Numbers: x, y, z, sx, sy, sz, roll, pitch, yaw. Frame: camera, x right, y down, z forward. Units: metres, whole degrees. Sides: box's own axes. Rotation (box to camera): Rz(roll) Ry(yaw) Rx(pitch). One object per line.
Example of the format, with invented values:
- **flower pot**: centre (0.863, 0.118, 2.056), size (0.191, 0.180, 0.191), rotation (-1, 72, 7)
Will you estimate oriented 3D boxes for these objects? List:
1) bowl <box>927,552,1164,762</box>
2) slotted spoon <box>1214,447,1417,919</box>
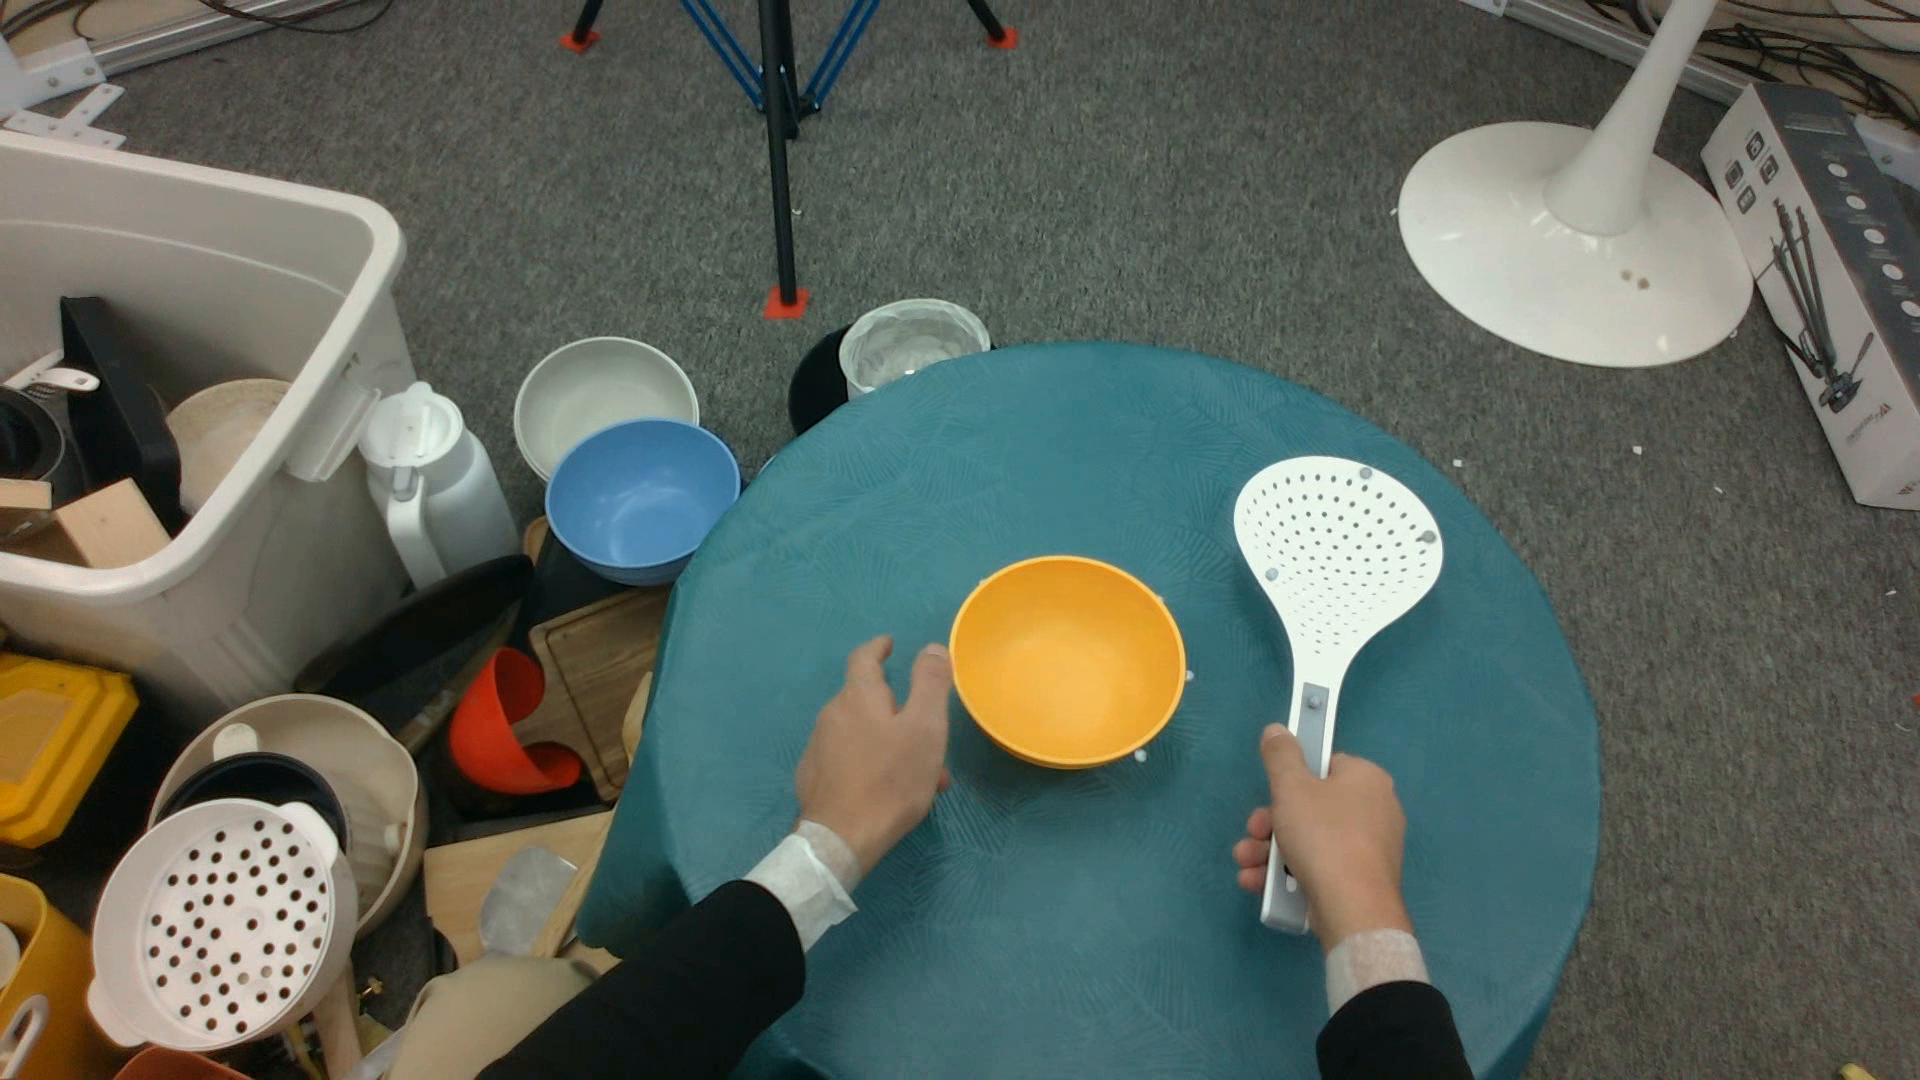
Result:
- **bowl**: centre (0.051, 0.081, 0.854), size (0.145, 0.060, 0.146), rotation (1, 54, -1)
- **slotted spoon**: centre (0.208, 0.073, 0.853), size (0.136, 0.045, 0.351), rotation (14, 46, 6)
